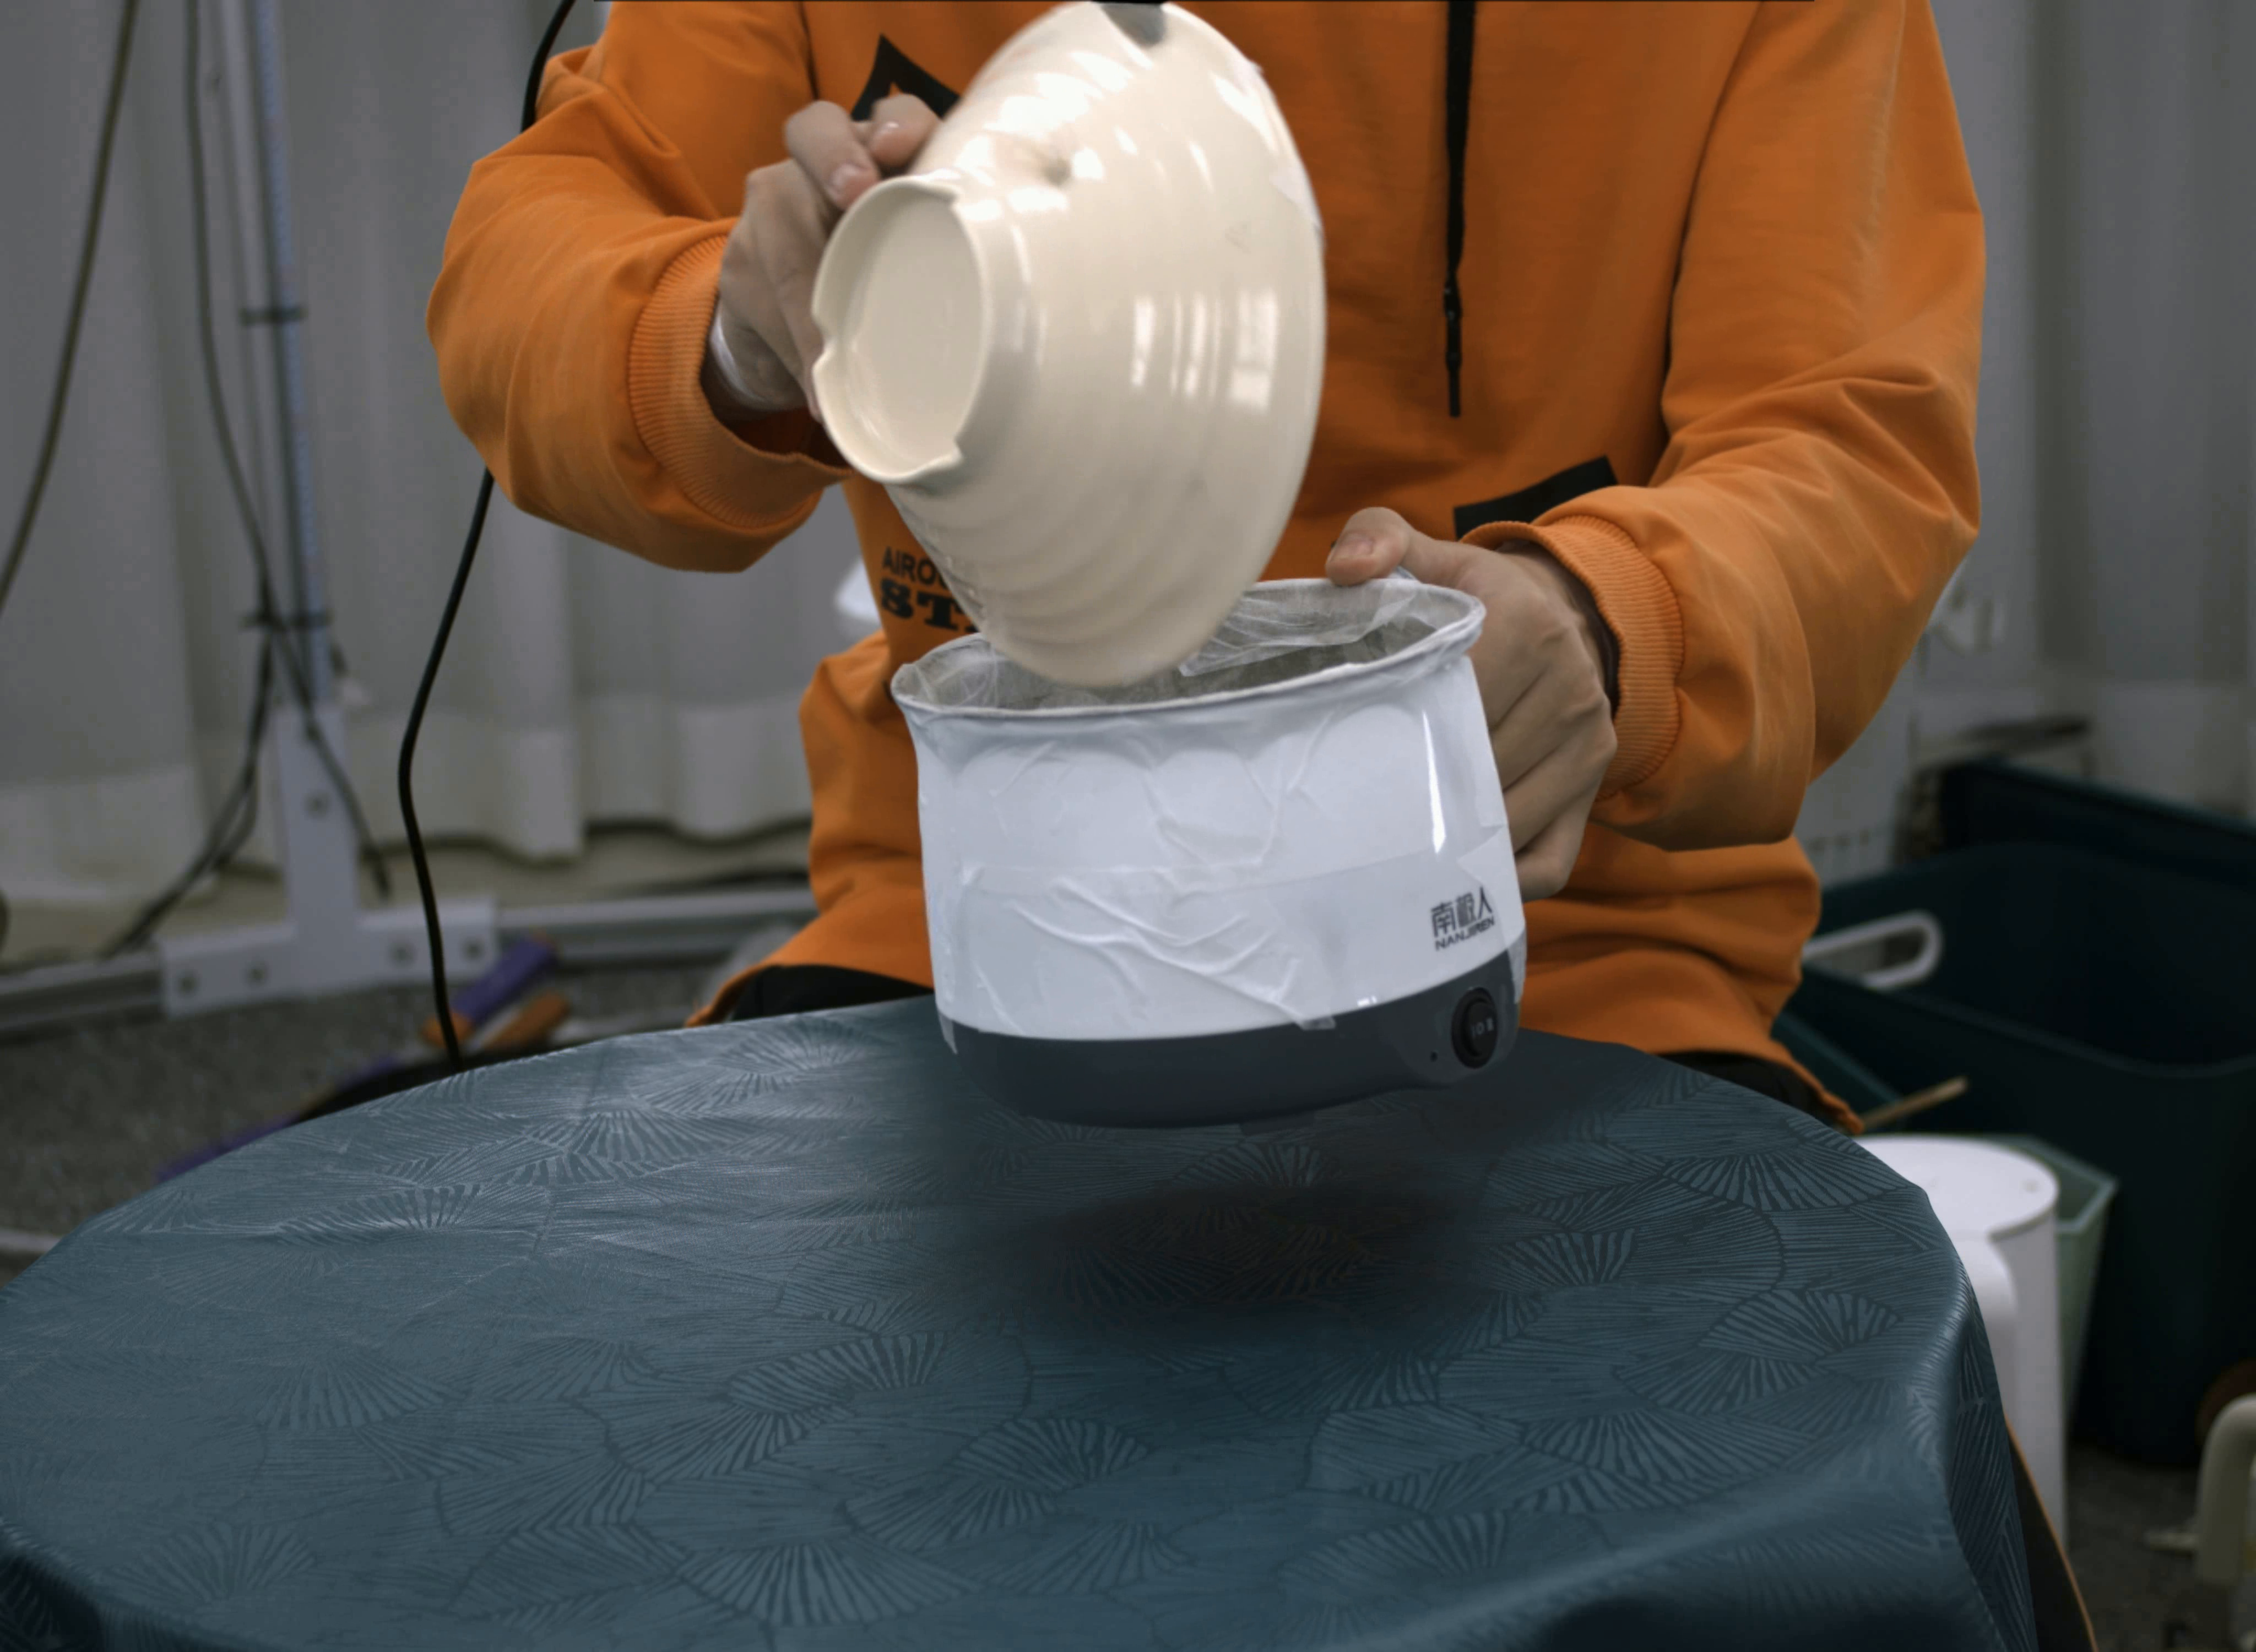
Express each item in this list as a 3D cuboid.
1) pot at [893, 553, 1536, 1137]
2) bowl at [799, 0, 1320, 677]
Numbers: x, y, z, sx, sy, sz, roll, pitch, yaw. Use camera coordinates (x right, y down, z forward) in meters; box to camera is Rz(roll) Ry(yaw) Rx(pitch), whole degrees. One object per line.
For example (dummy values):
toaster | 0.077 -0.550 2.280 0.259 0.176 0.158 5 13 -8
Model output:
pot | 0.043 0.001 1.640 0.179 0.136 0.234 2 15 37
bowl | -0.039 -0.145 1.580 0.077 0.204 0.205 0 10 -40
